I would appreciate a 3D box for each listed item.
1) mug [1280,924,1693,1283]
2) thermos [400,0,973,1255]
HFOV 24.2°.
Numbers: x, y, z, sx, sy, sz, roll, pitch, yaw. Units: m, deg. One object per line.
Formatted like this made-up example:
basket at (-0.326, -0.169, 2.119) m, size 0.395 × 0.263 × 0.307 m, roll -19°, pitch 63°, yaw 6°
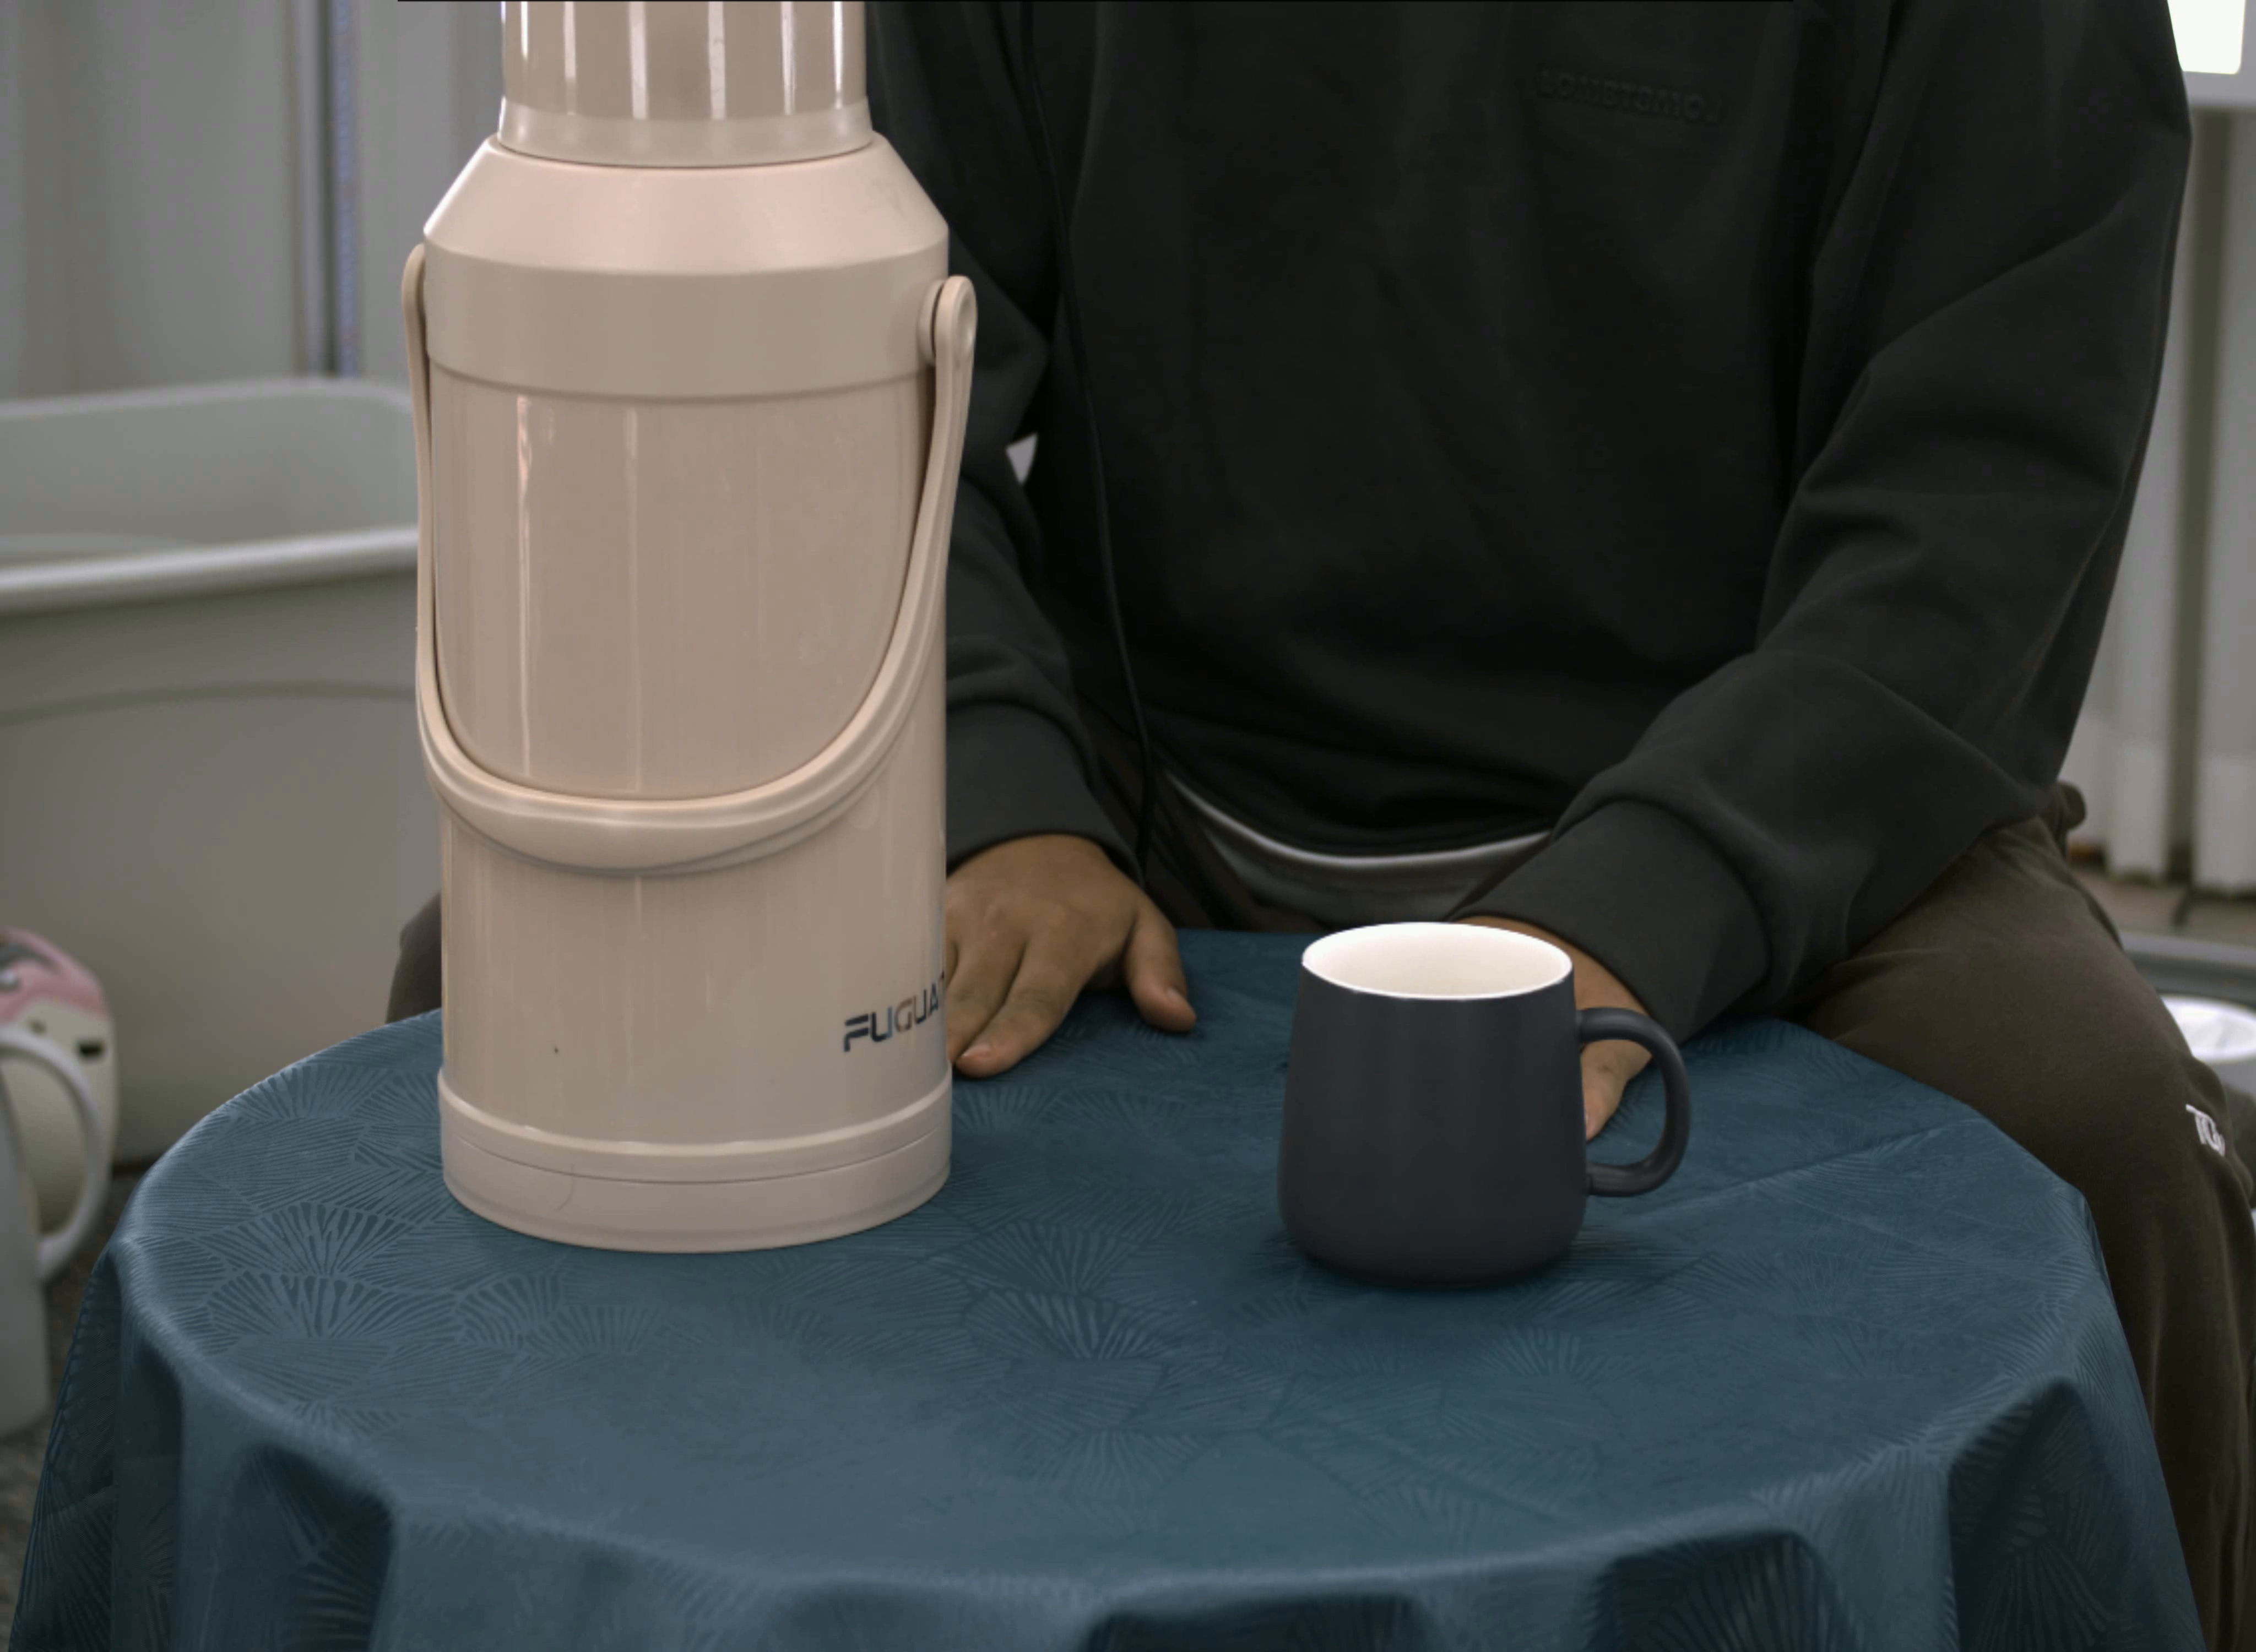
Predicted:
mug at (0.107, 0.082, 1.569) m, size 0.123 × 0.090 × 0.093 m, roll 1°, pitch 16°, yaw 2°
thermos at (-0.128, -0.088, 1.597) m, size 0.174 × 0.410 × 0.207 m, roll 5°, pitch 17°, yaw 15°
